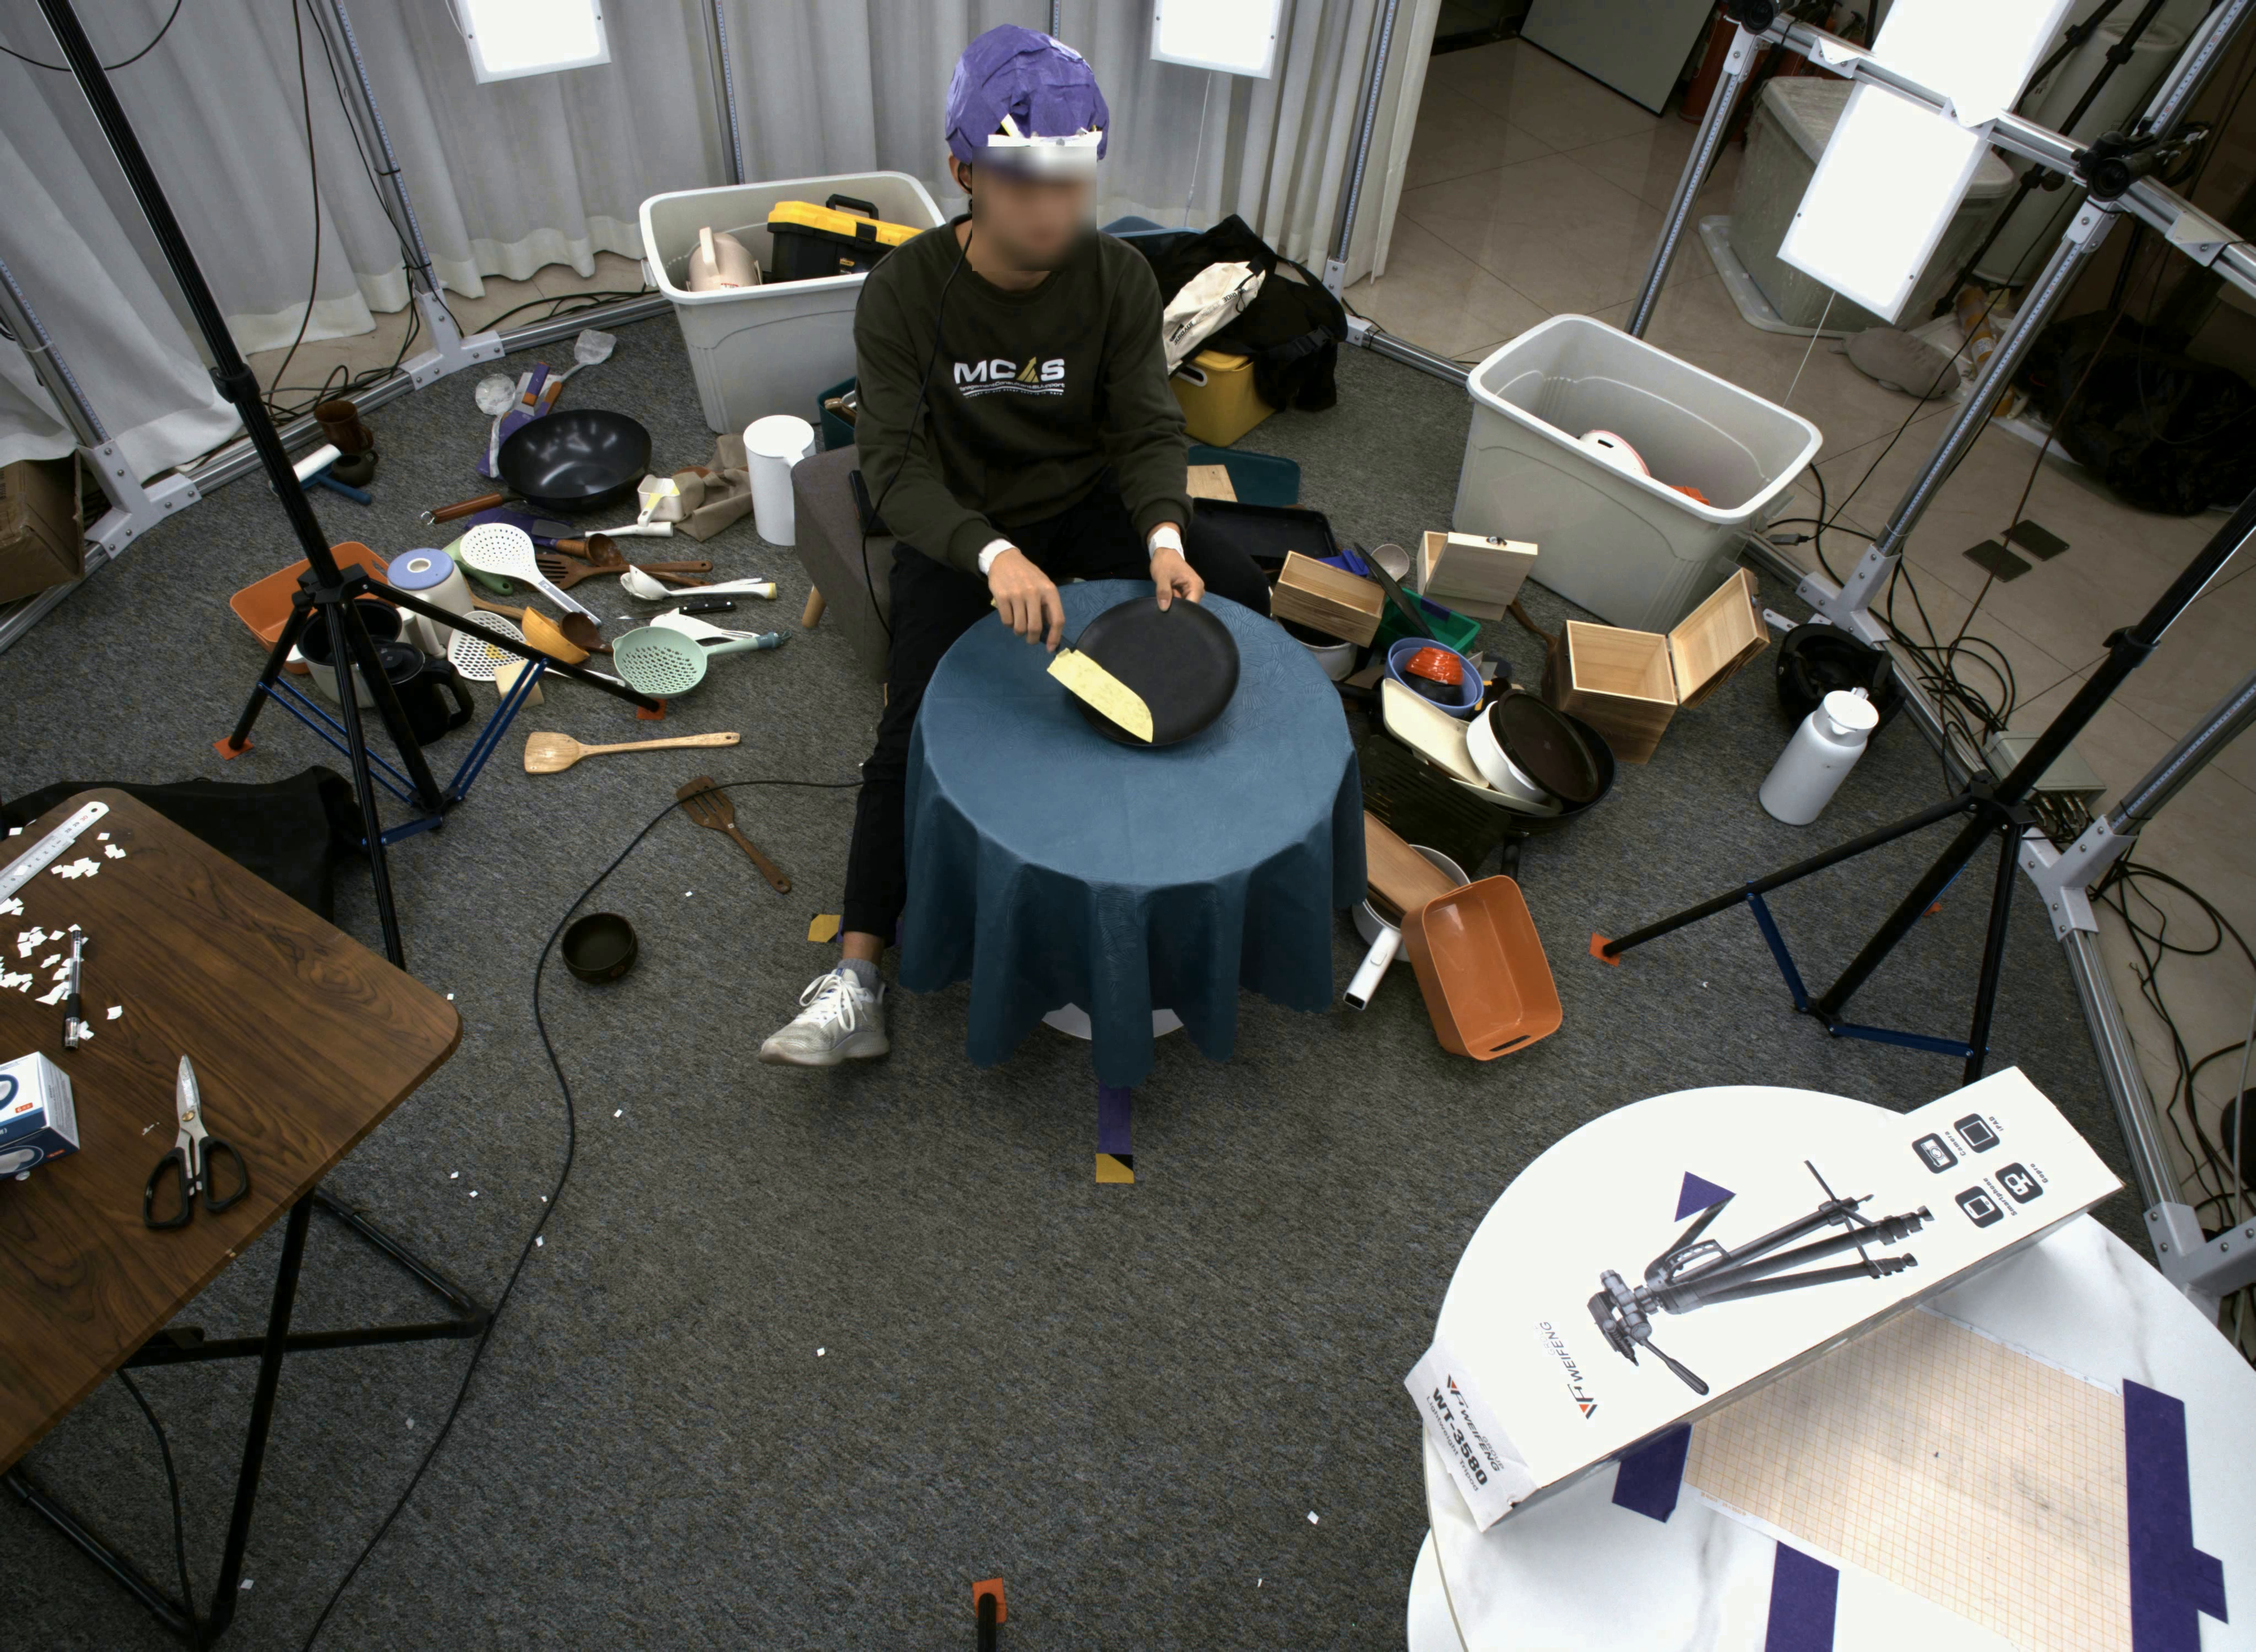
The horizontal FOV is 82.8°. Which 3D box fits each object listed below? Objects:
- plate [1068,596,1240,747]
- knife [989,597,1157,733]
[{"bbox_3d":[0.036,-0.216,1.807,0.244,0.023,0.249,-3,64,6],"label":"plate"},{"bbox_3d":[-0.077,-0.217,1.763,0.290,0.027,0.082,37,44,1],"label":"knife"}]
